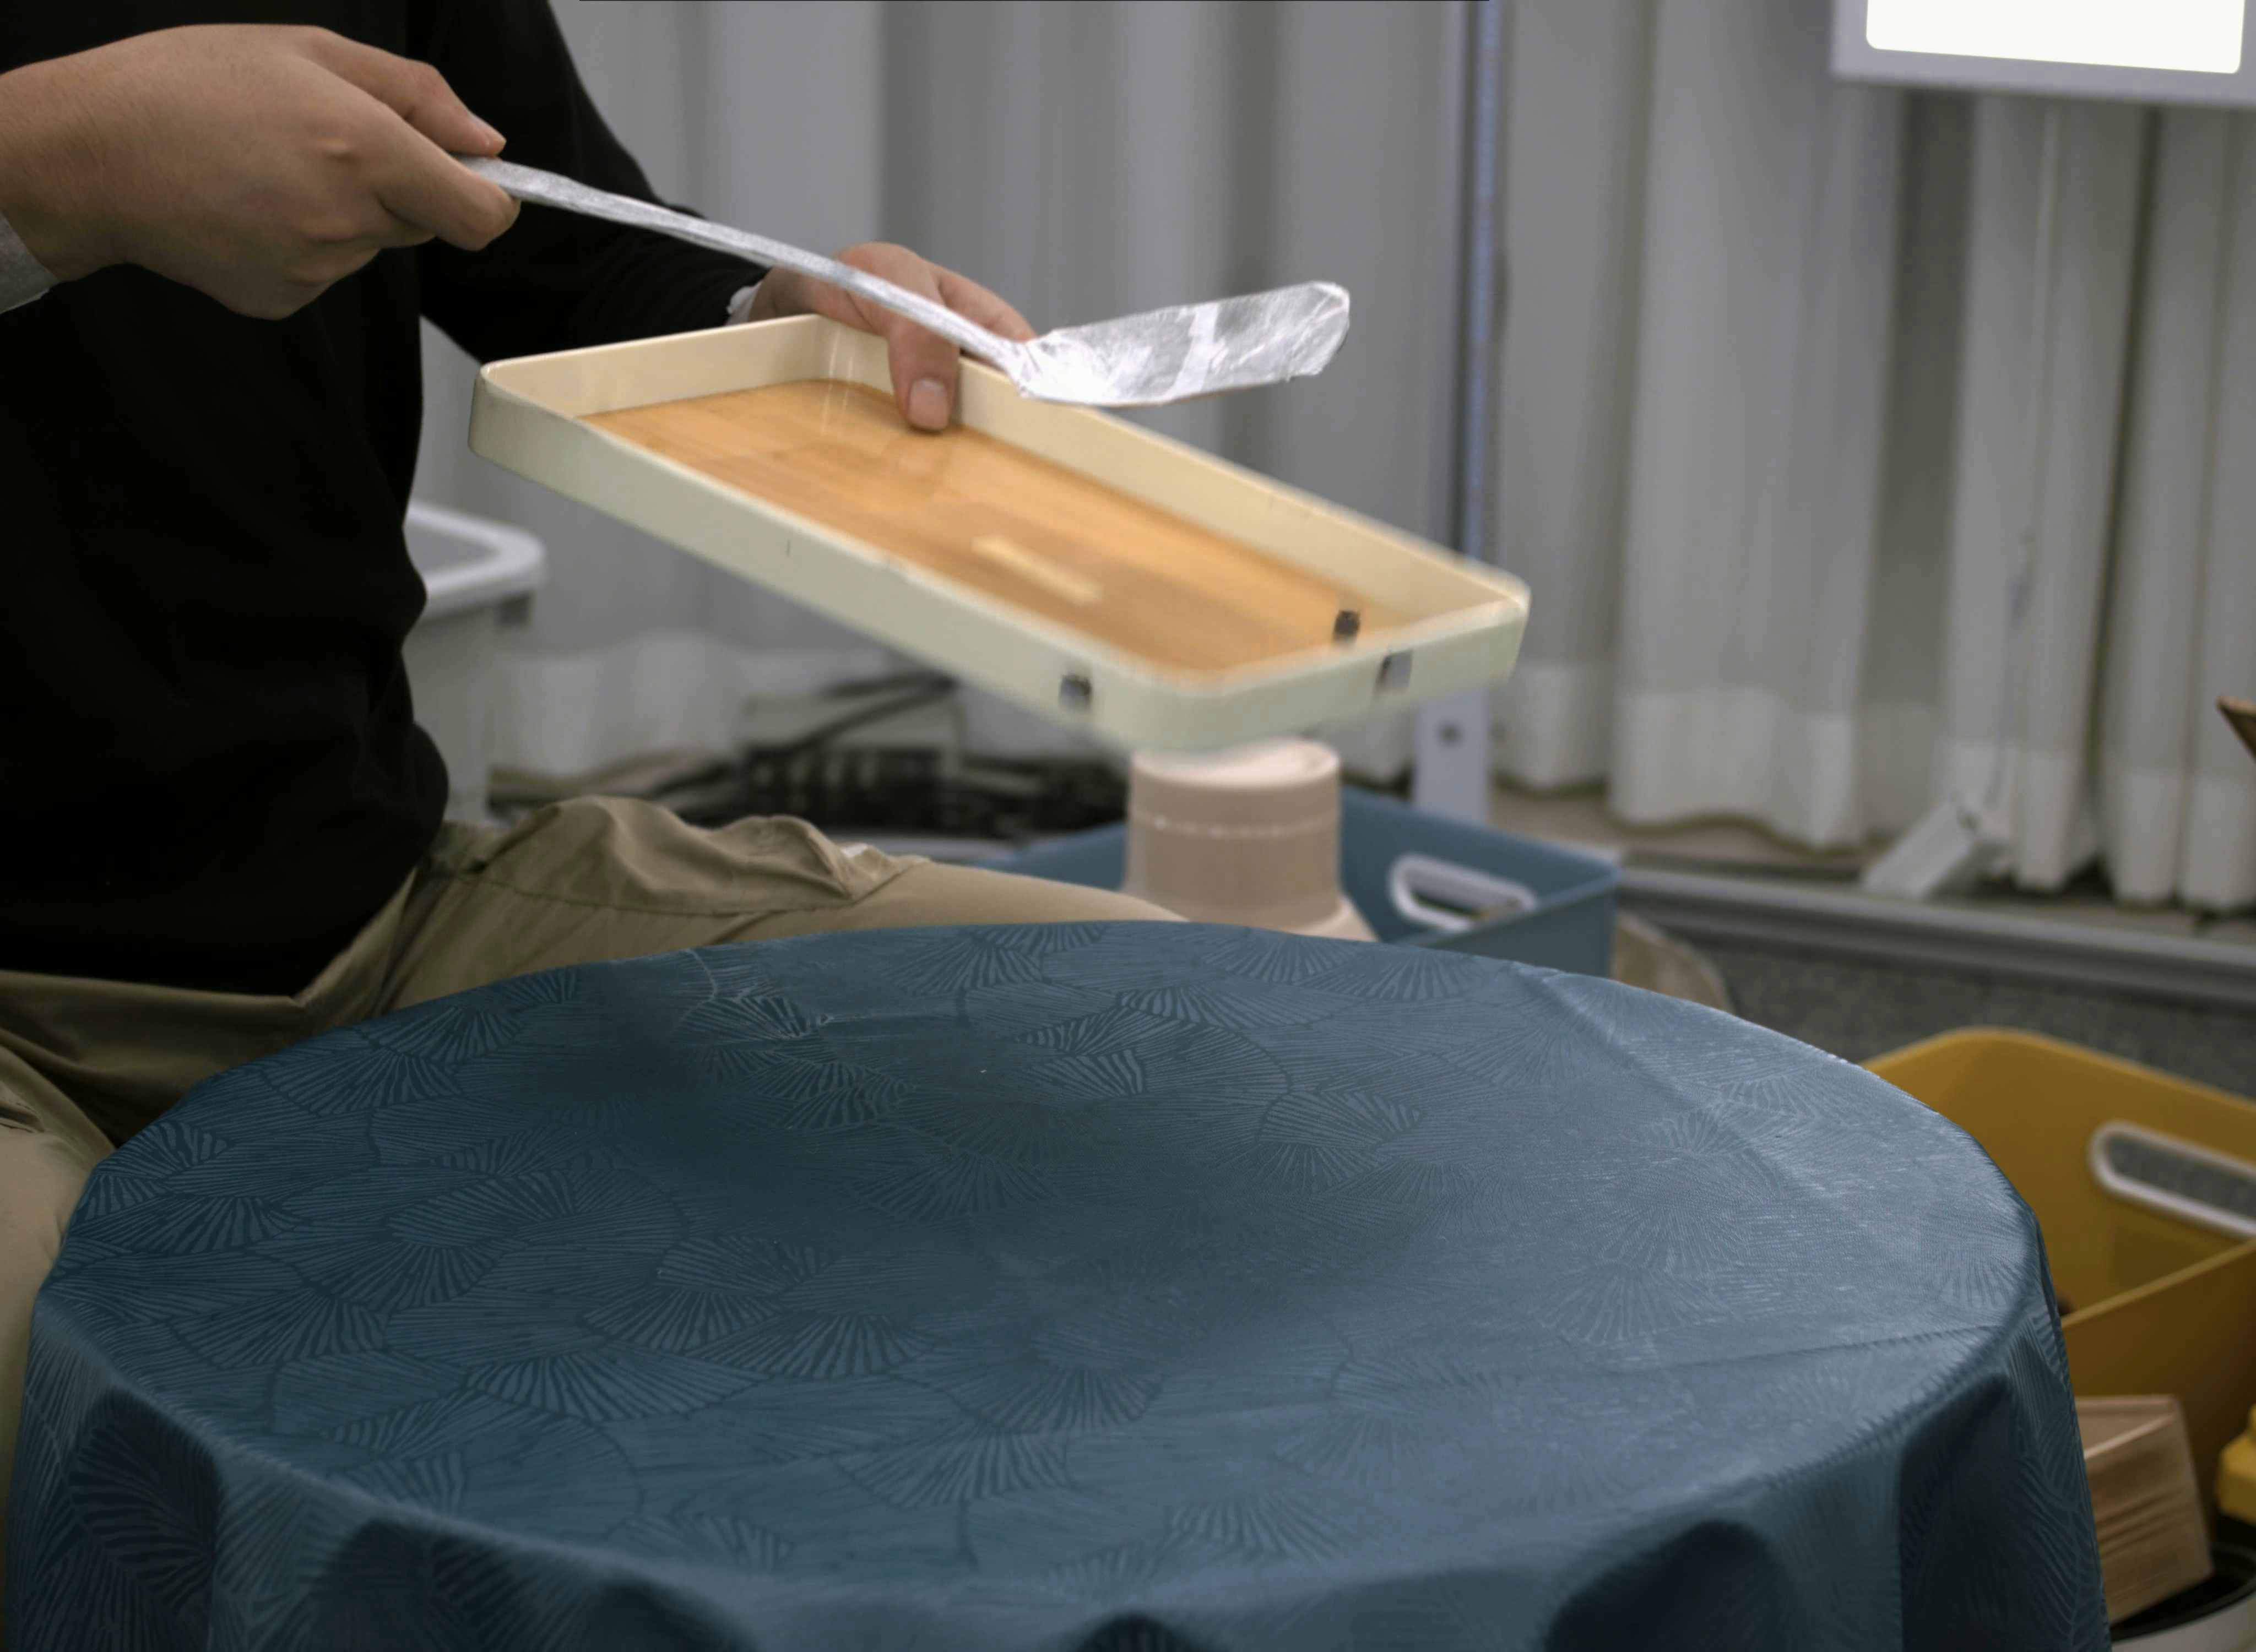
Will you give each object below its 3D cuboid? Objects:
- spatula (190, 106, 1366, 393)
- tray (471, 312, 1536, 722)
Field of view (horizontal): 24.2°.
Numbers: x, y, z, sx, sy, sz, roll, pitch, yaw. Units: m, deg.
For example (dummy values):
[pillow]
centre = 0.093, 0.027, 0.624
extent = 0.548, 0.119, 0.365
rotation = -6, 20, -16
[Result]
[spatula]
centre = -0.110, -0.181, 1.578
extent = 0.363, 0.045, 0.098
rotation = 16, 26, 3
[tray]
centre = -0.040, -0.101, 1.642
extent = 0.296, 0.027, 0.192
rotation = 23, 23, 33
